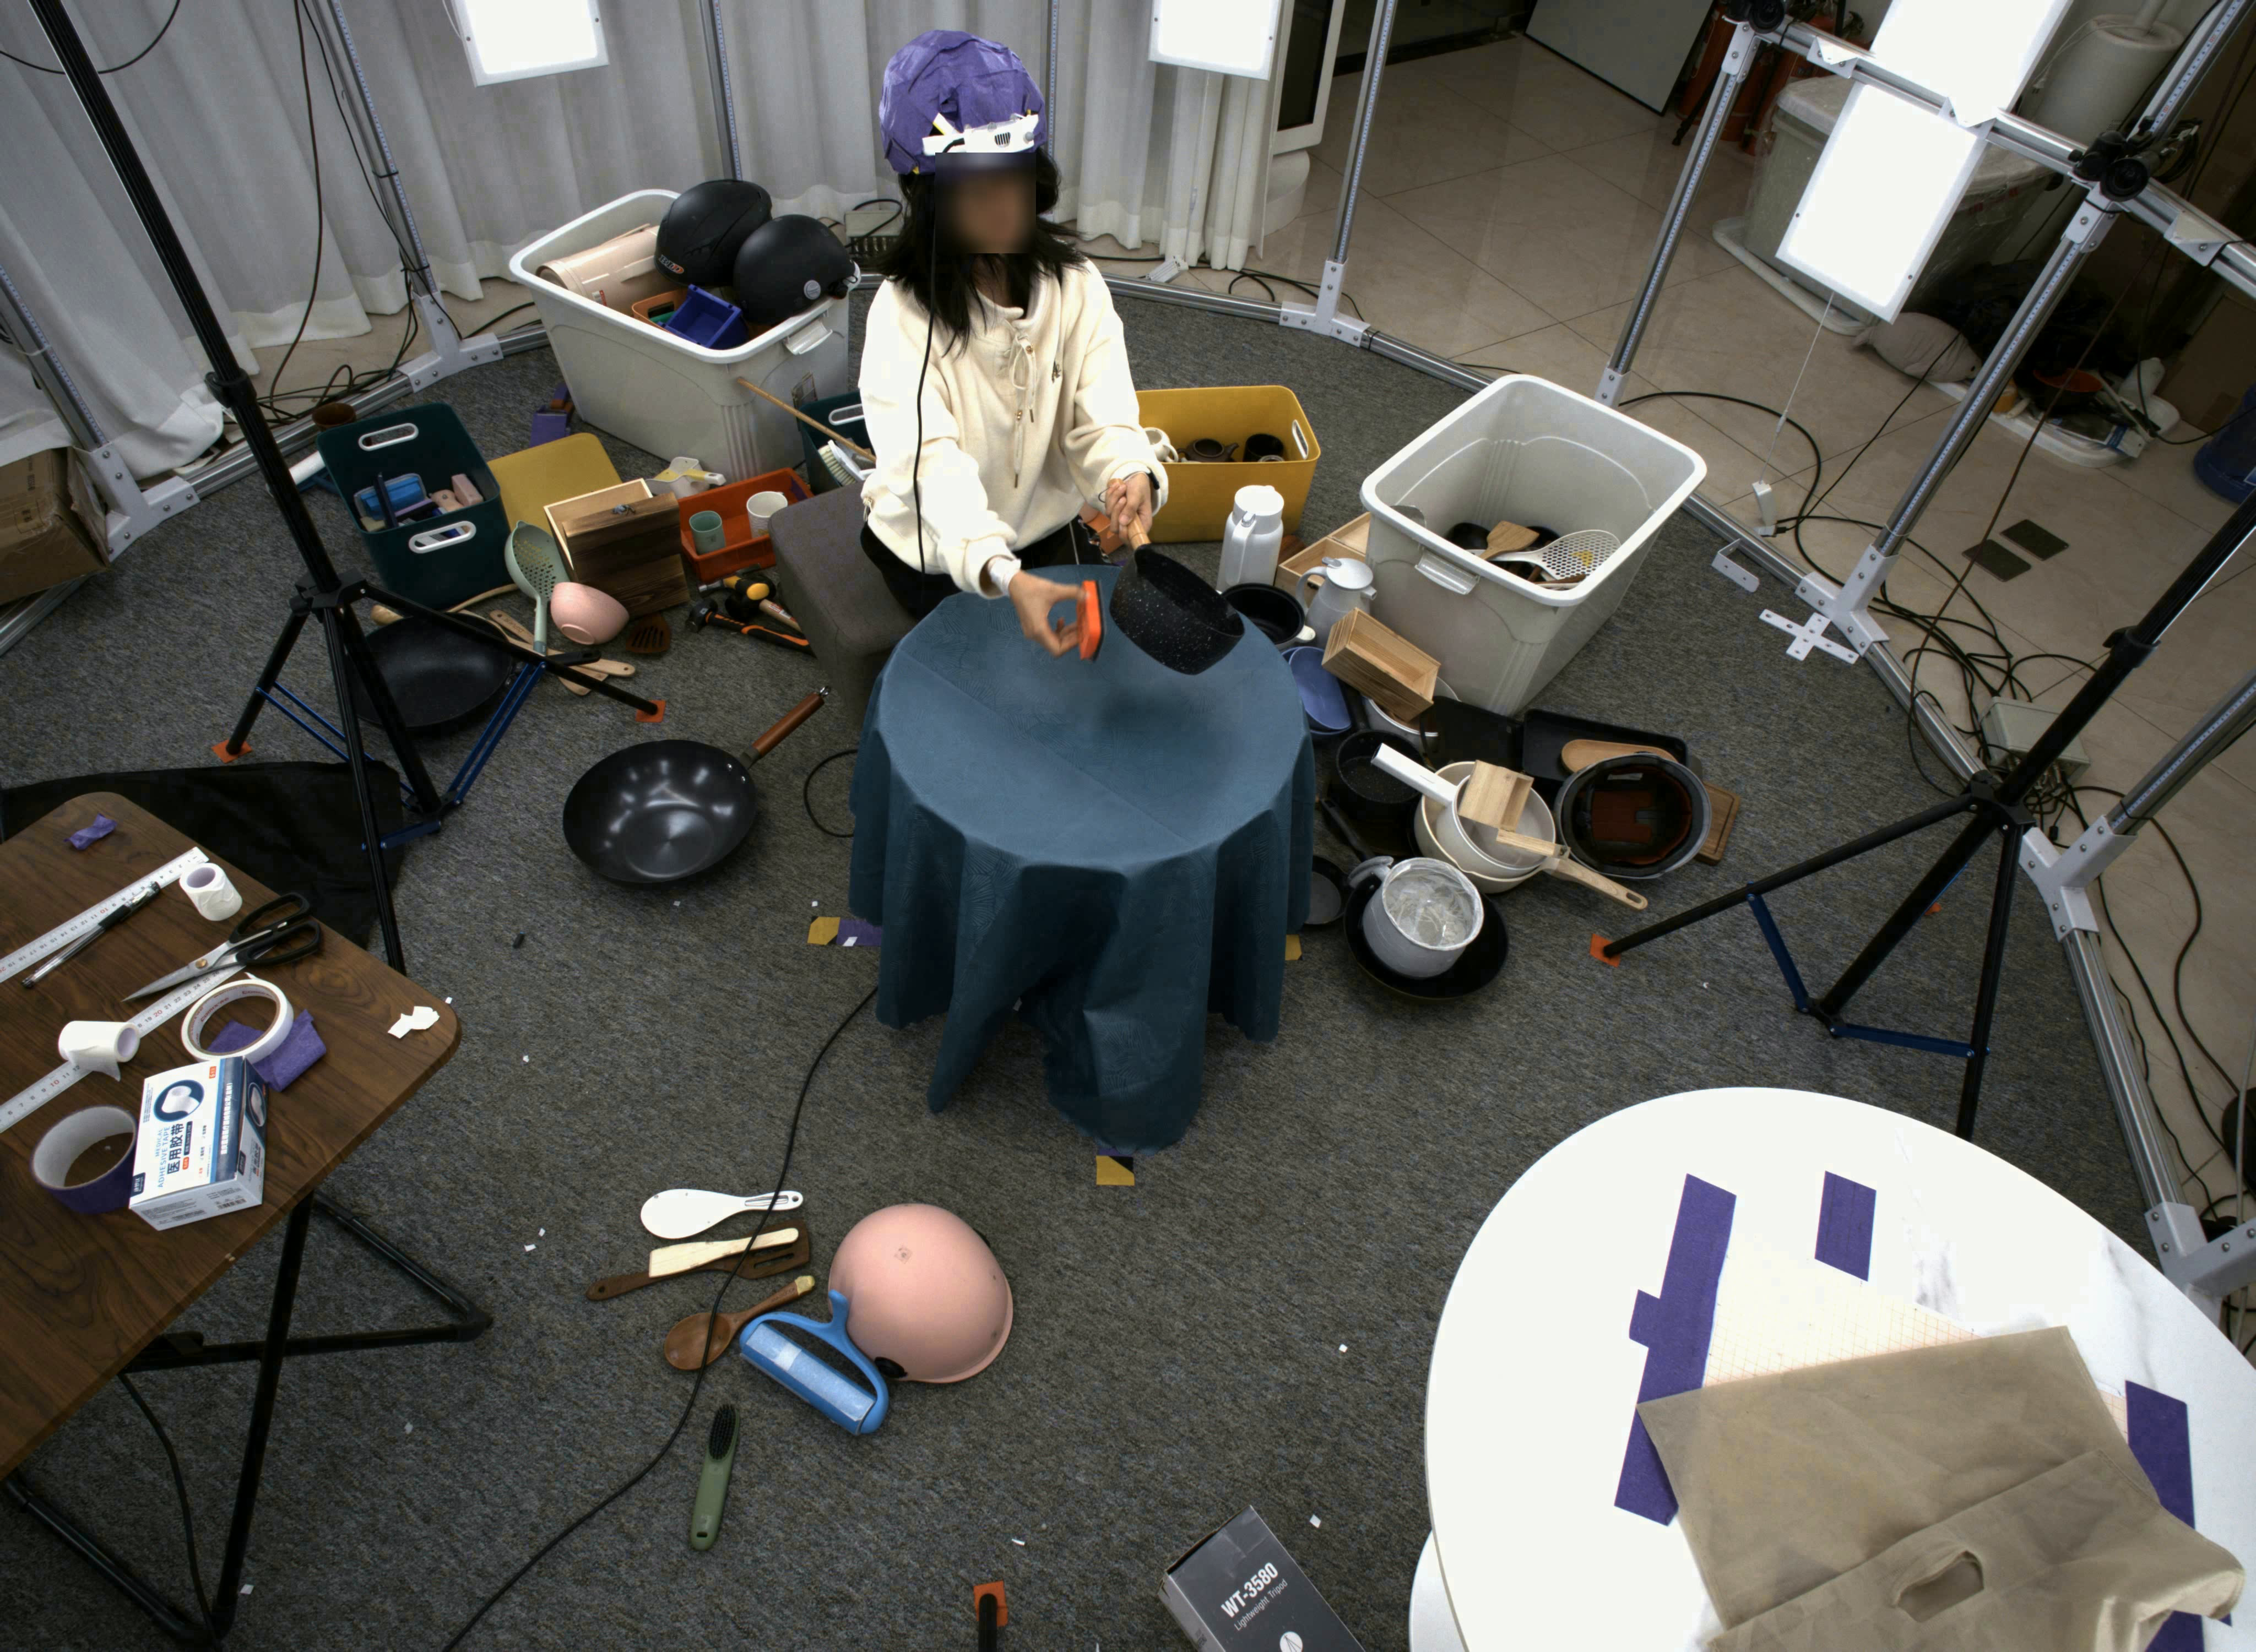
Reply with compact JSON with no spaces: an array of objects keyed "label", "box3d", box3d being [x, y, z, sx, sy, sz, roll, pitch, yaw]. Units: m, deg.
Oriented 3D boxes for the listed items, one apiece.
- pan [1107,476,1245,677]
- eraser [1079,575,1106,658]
[{"label":"pan","box3d":[0.028,-0.346,1.770,0.205,0.107,0.350,10,38,-44]},{"label":"eraser","box3d":[-0.048,-0.281,1.716,0.023,0.057,0.111,4,49,-12]}]
